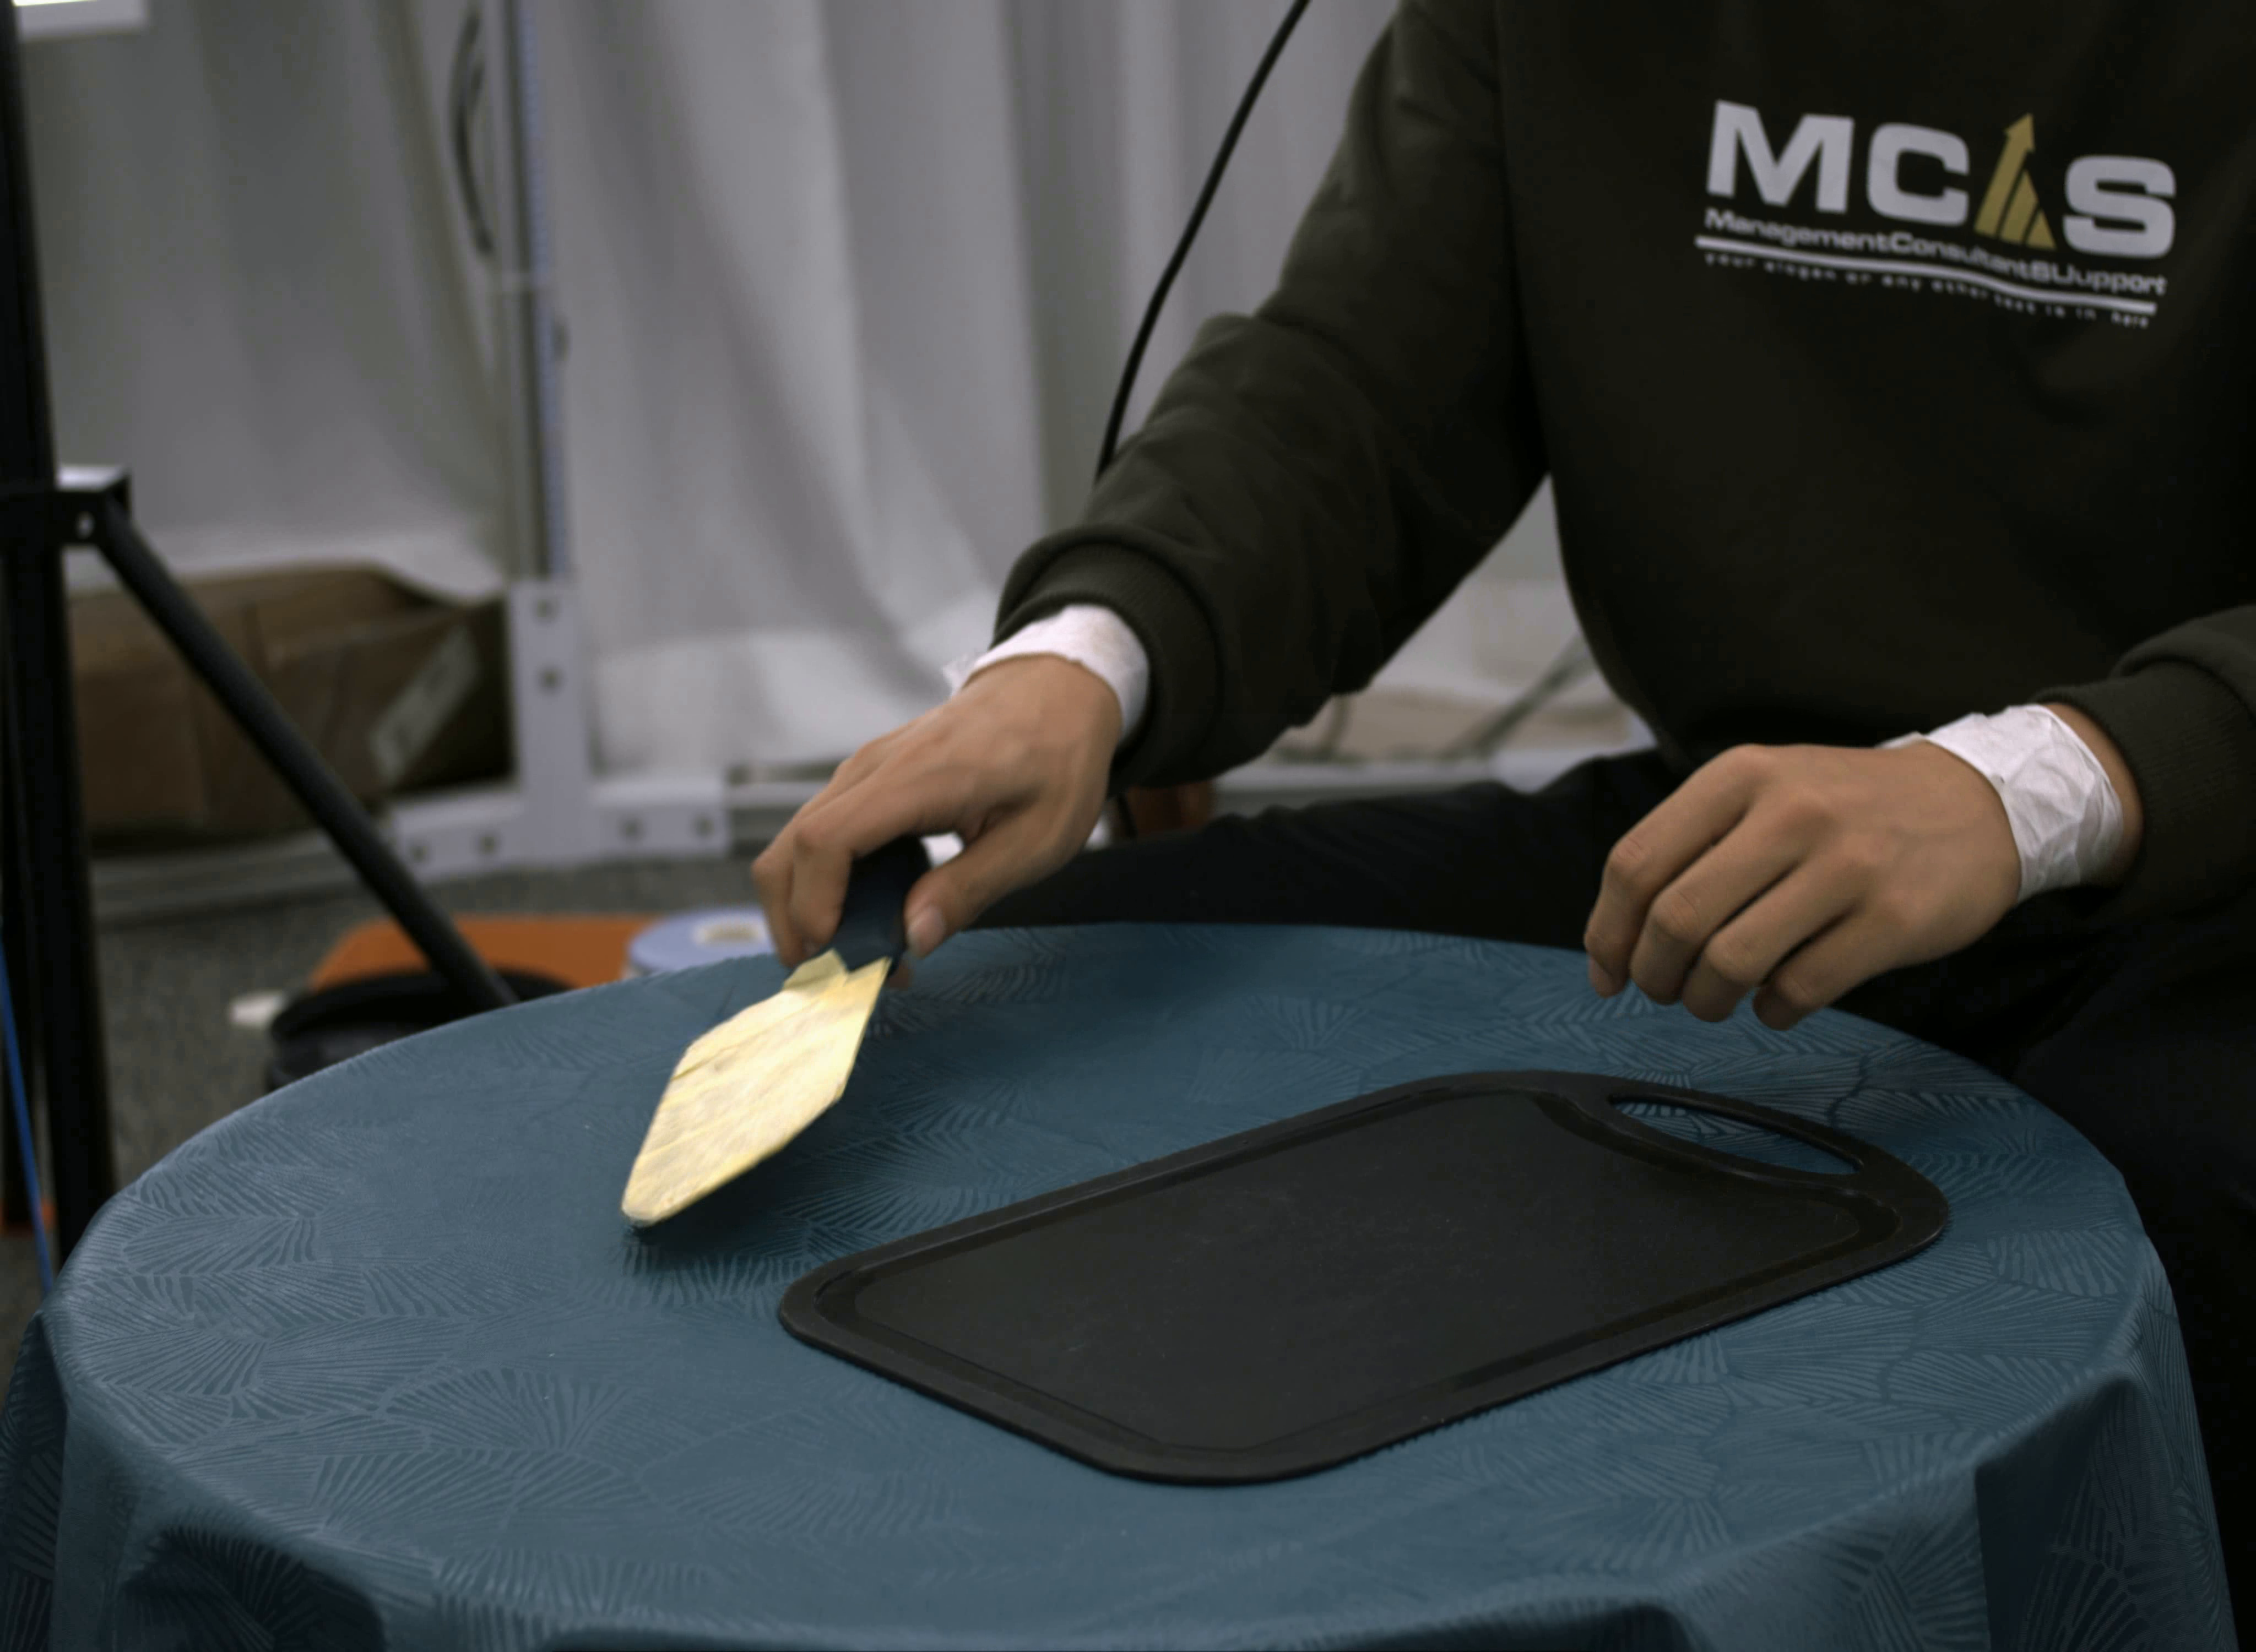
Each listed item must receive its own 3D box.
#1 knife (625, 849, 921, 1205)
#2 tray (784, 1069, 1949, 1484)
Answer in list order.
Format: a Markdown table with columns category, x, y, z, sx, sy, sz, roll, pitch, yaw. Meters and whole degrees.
| category | x | y | z | sx | sy | sz | roll | pitch | yaw |
| --- | --- | --- | --- | --- | --- | --- | --- | --- | --- |
| knife | -0.107 | 0.062 | 1.649 | 0.081 | 0.027 | 0.289 | -20 | 14 | 14 |
| tray | 0.076 | 0.118 | 1.499 | 0.318 | 0.010 | 0.216 | -14 | 20 | -36 |
